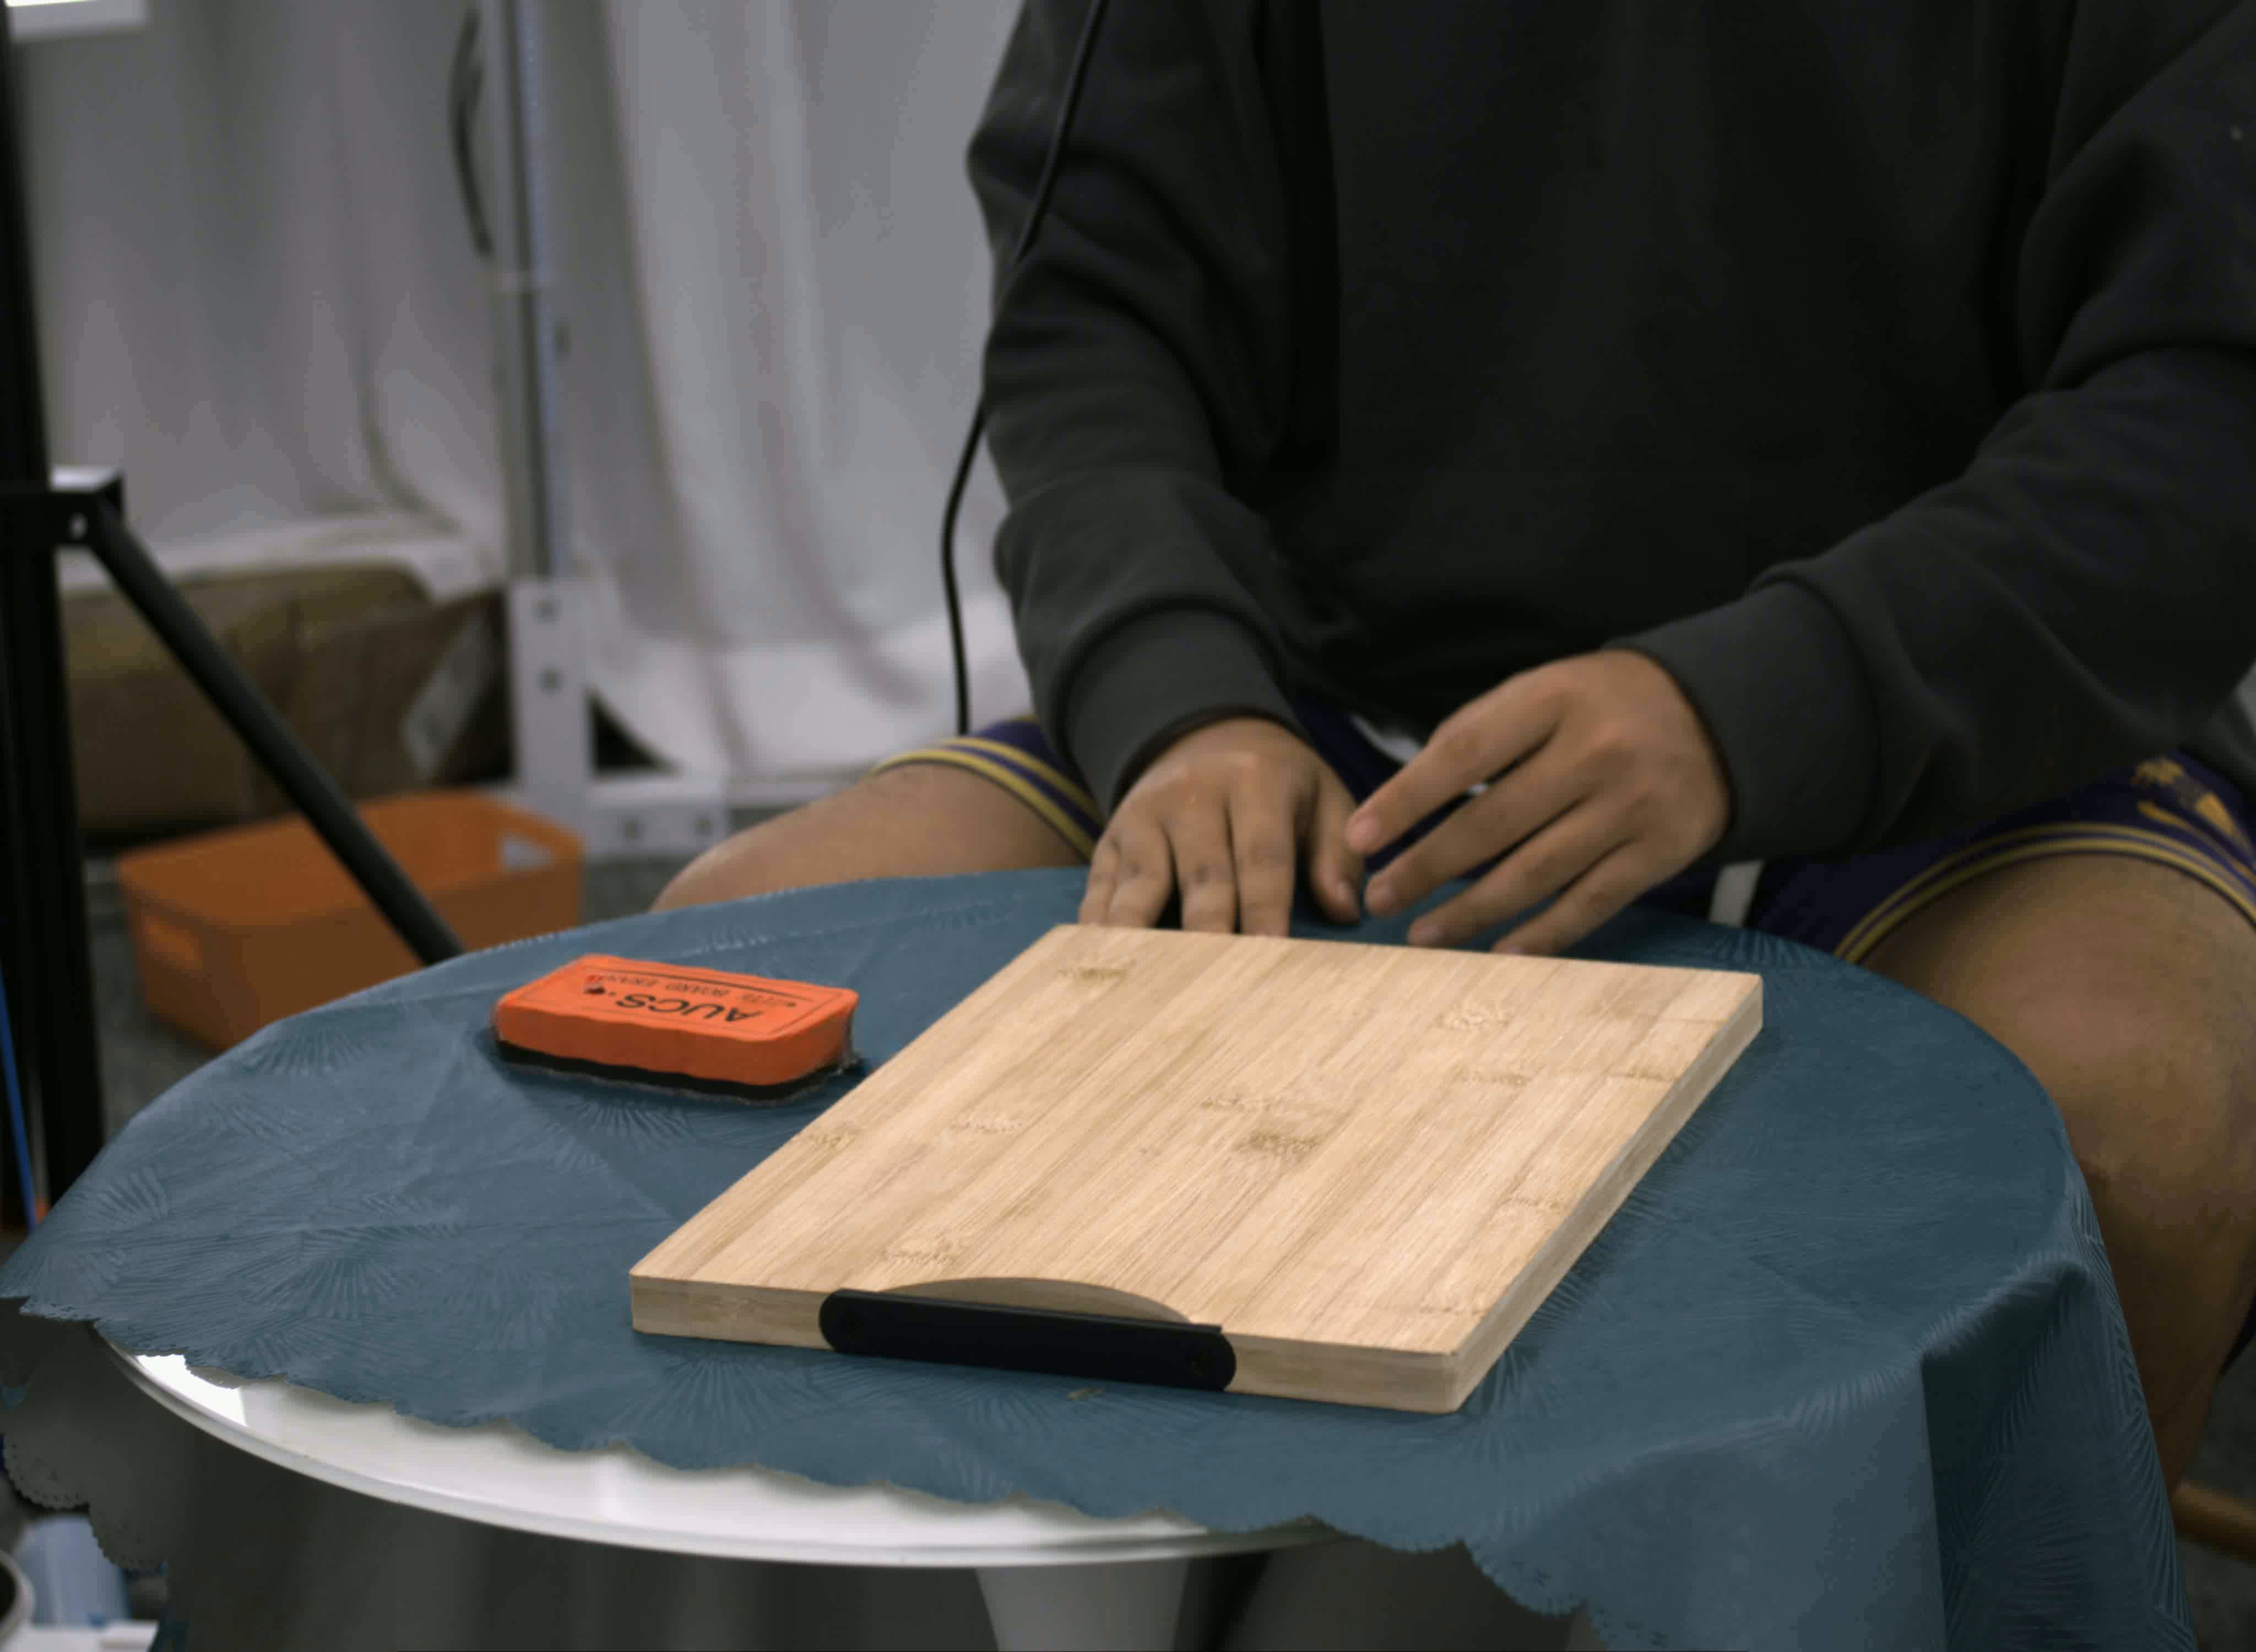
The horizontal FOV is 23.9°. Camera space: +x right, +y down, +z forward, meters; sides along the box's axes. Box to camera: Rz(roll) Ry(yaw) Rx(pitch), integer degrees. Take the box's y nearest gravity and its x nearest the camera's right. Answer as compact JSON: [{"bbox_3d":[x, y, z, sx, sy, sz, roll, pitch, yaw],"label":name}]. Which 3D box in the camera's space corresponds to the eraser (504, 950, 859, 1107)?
[{"bbox_3d":[-0.141,0.064,1.695,0.110,0.023,0.058,8,20,31],"label":"eraser"}]

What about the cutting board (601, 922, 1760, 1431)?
[{"bbox_3d":[0.029,0.096,1.569,0.253,0.023,0.344,3,17,20],"label":"cutting board"}]
